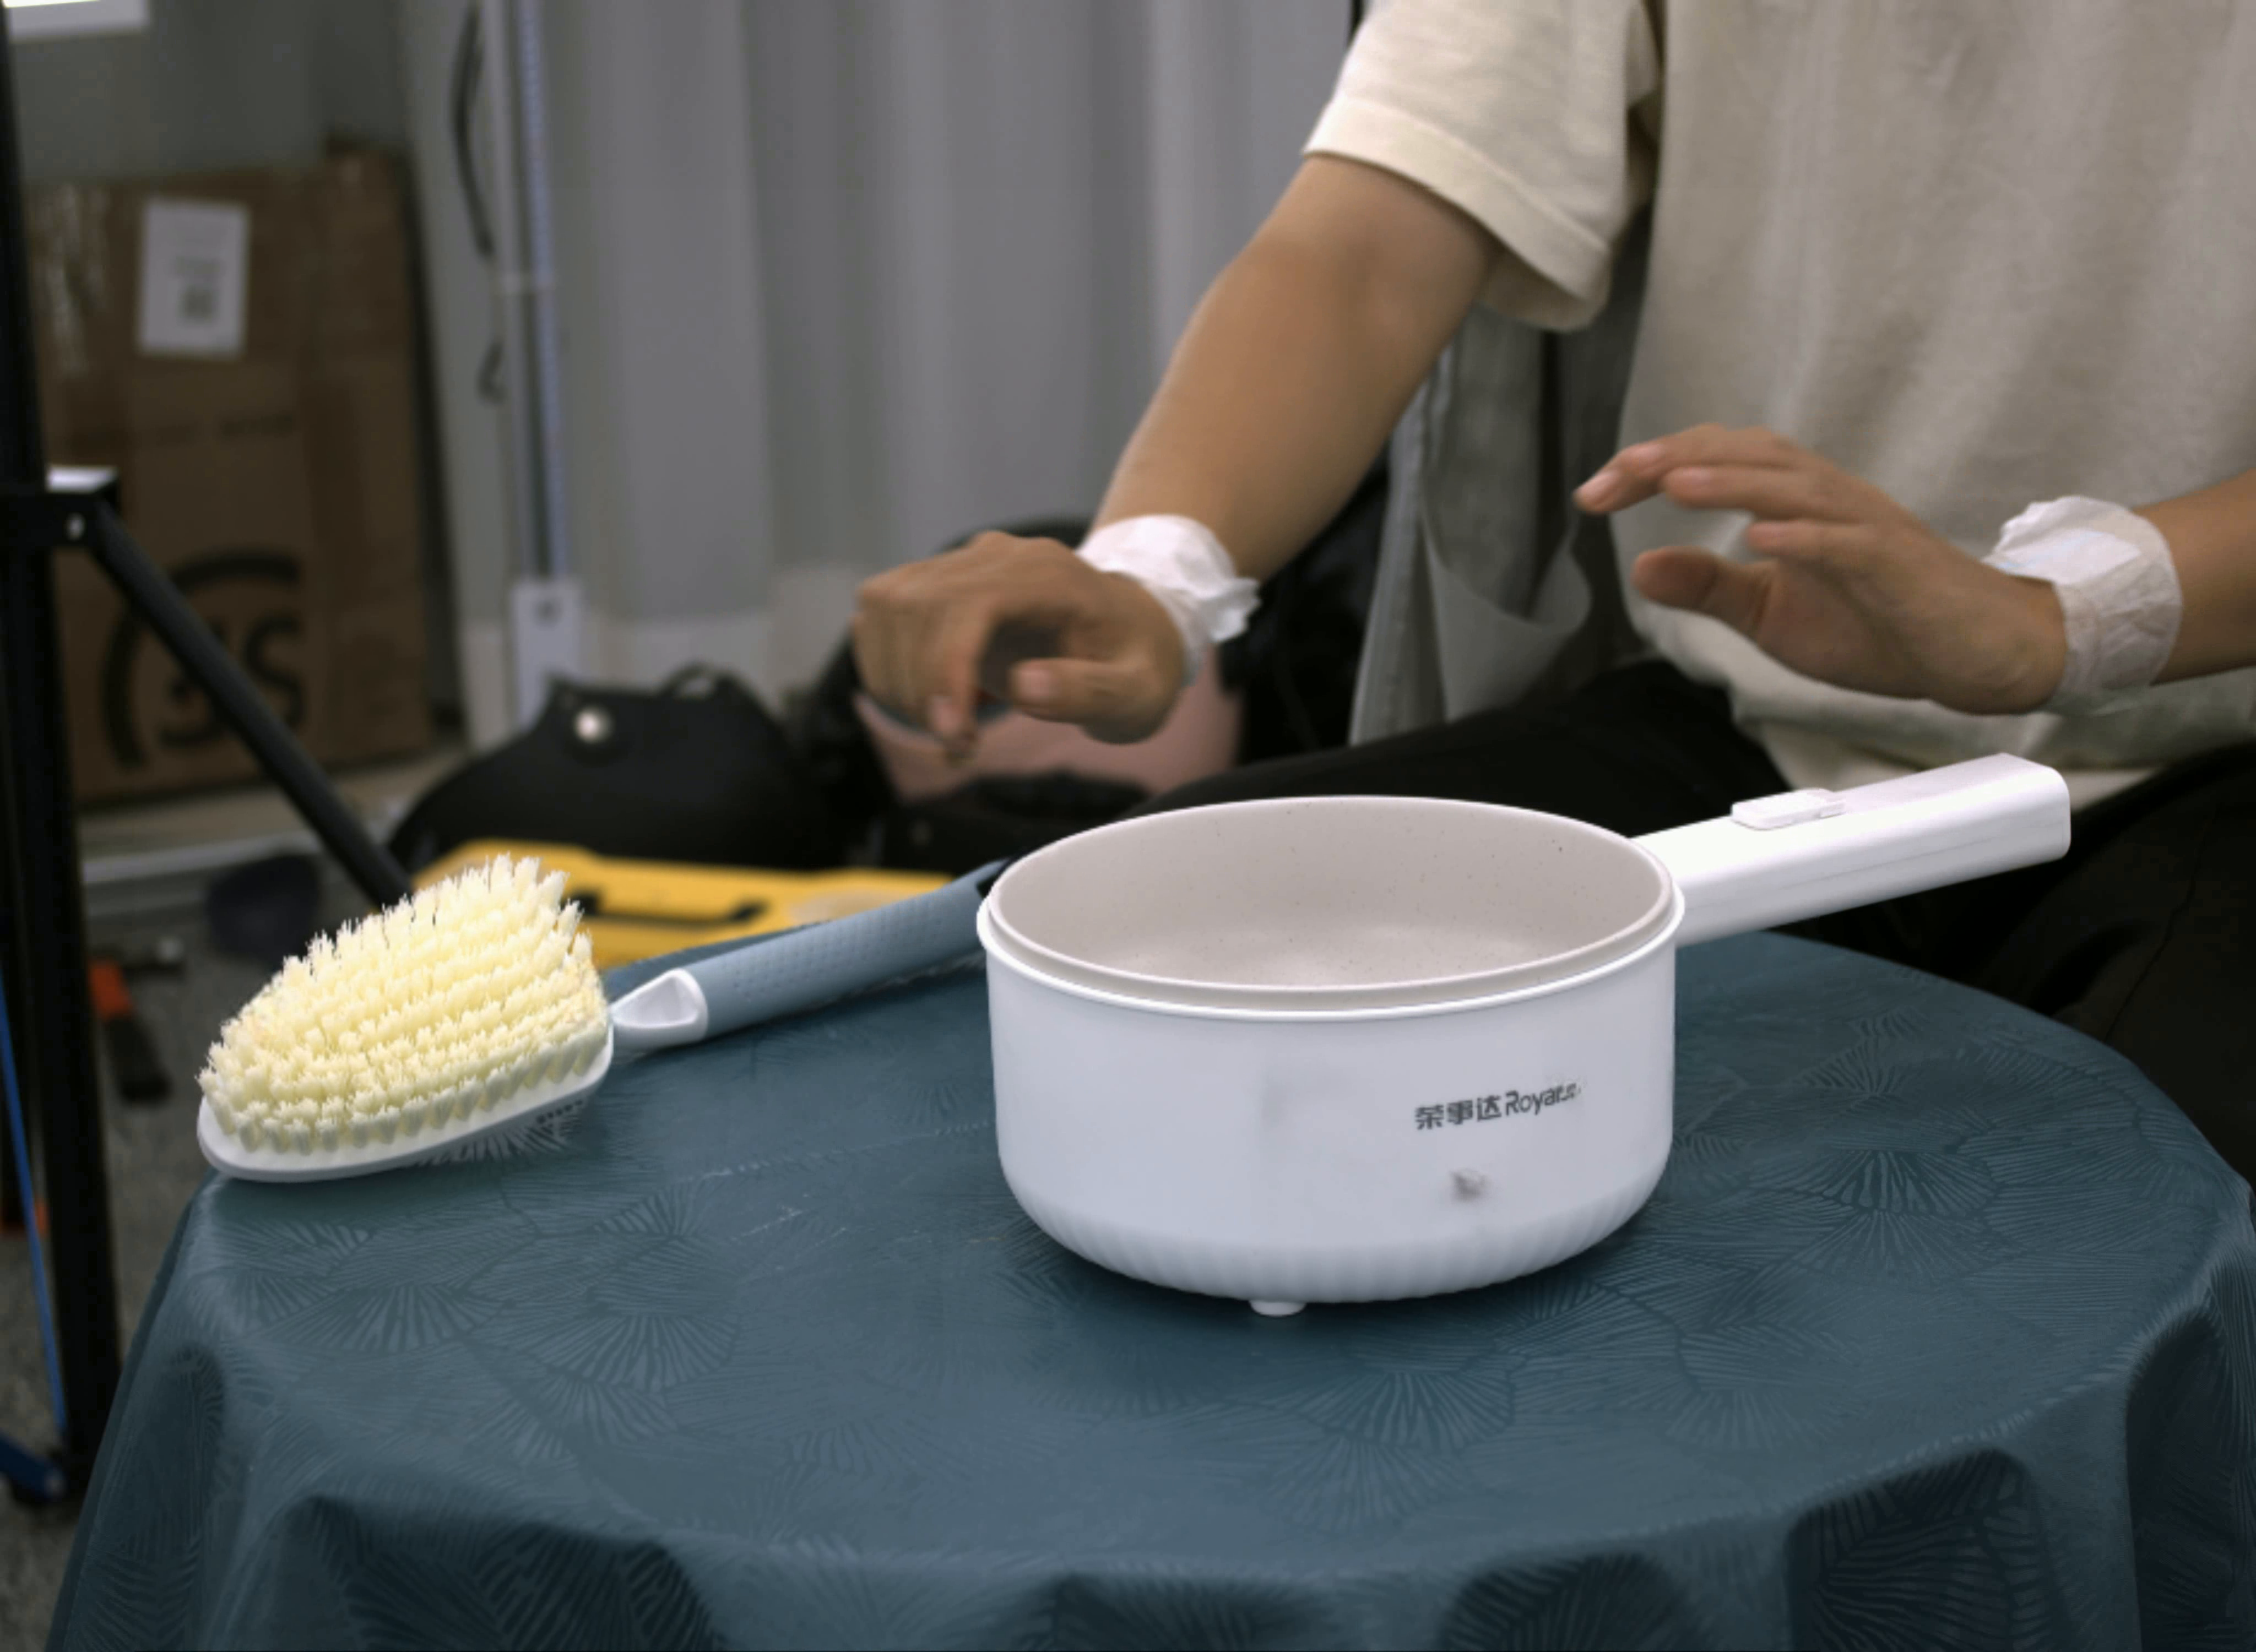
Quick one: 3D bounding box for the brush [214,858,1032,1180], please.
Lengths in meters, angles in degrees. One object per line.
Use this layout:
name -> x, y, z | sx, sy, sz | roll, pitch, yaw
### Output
brush -> -0.143, 0.039, 1.674 | 0.318, 0.083, 0.086 | -16, 13, -37

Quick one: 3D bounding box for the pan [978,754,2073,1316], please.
pan -> 0.125, 0.054, 1.546 | 0.347, 0.102, 0.205 | -10, 17, -27
